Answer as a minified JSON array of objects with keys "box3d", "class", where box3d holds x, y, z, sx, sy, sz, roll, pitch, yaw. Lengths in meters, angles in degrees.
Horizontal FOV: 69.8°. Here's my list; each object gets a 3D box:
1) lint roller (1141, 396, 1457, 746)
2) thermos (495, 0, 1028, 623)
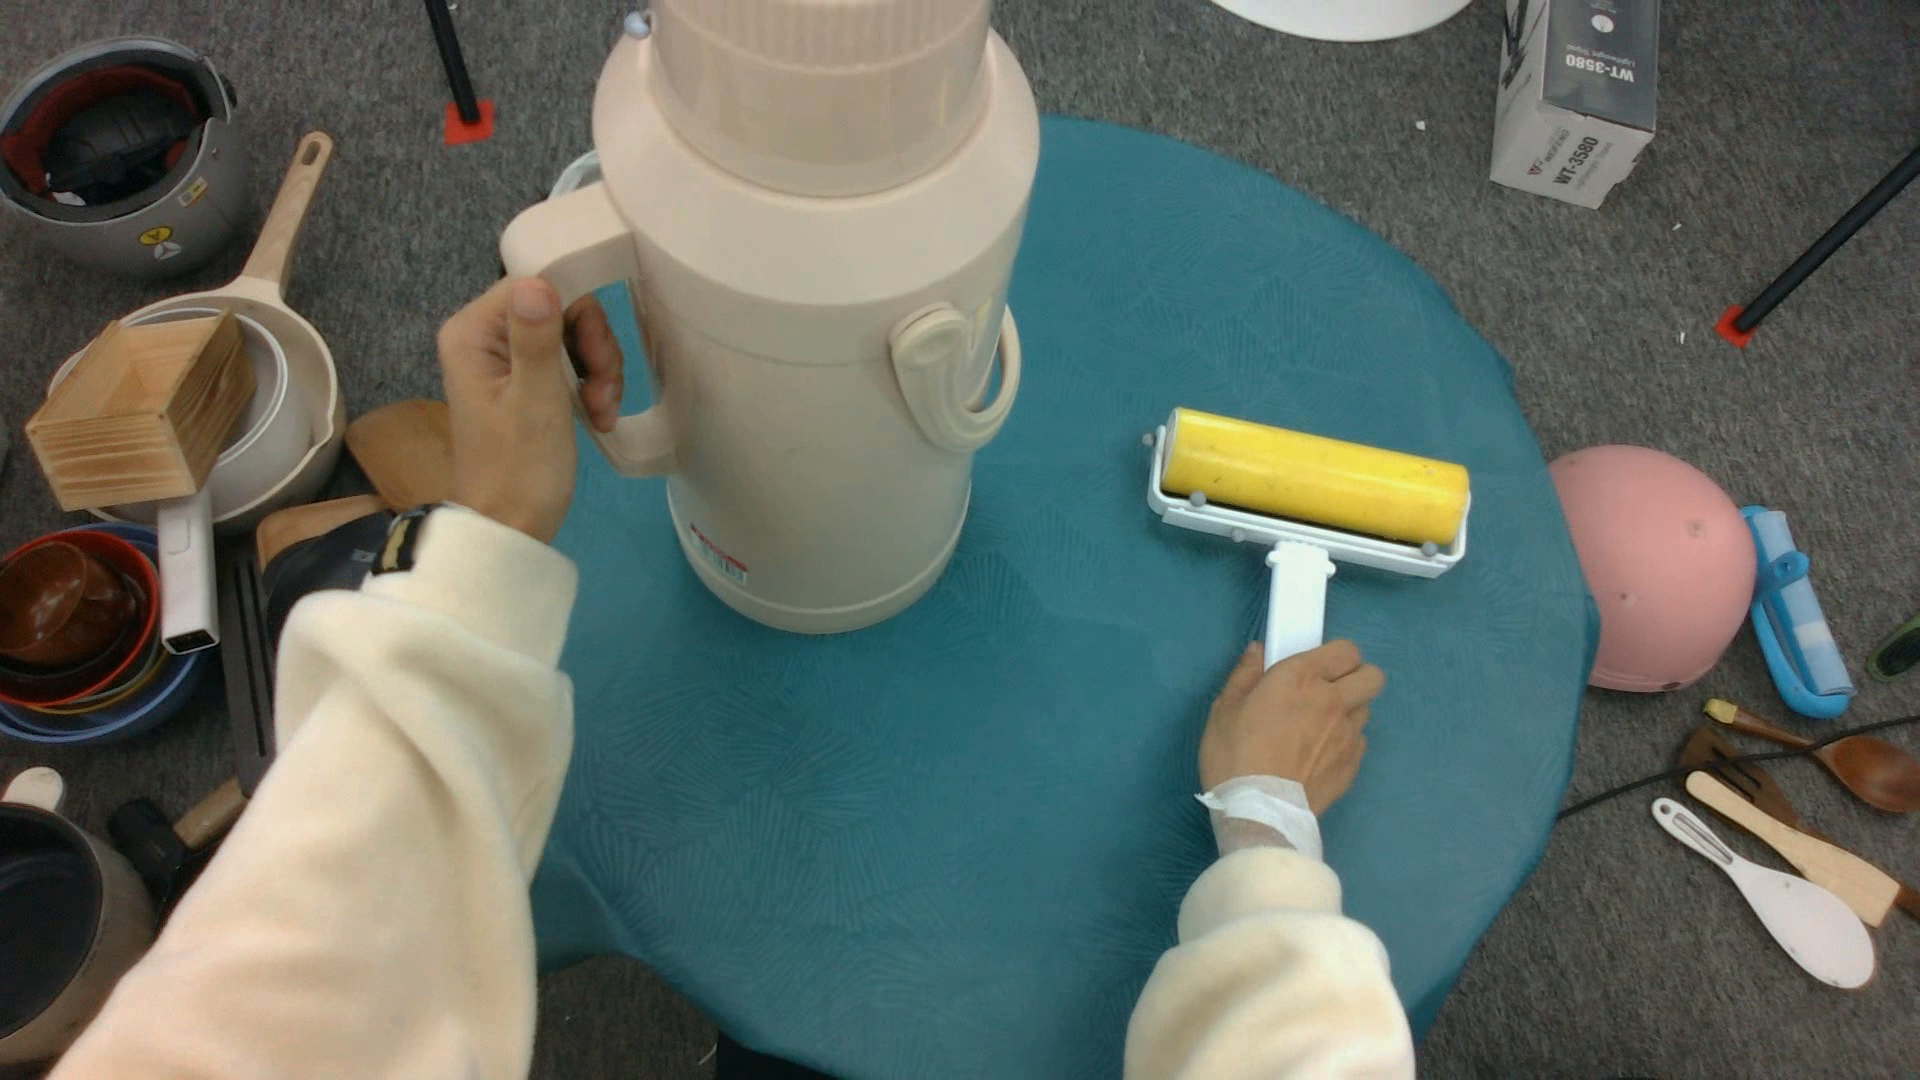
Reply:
[{"box3d":[0.179,0.014,0.723,0.174,0.051,0.193,11,51,-1],"class":"lint roller"},{"box3d":[-0.074,-0.106,0.572,0.207,0.404,0.175,-27,71,-17],"class":"thermos"}]
